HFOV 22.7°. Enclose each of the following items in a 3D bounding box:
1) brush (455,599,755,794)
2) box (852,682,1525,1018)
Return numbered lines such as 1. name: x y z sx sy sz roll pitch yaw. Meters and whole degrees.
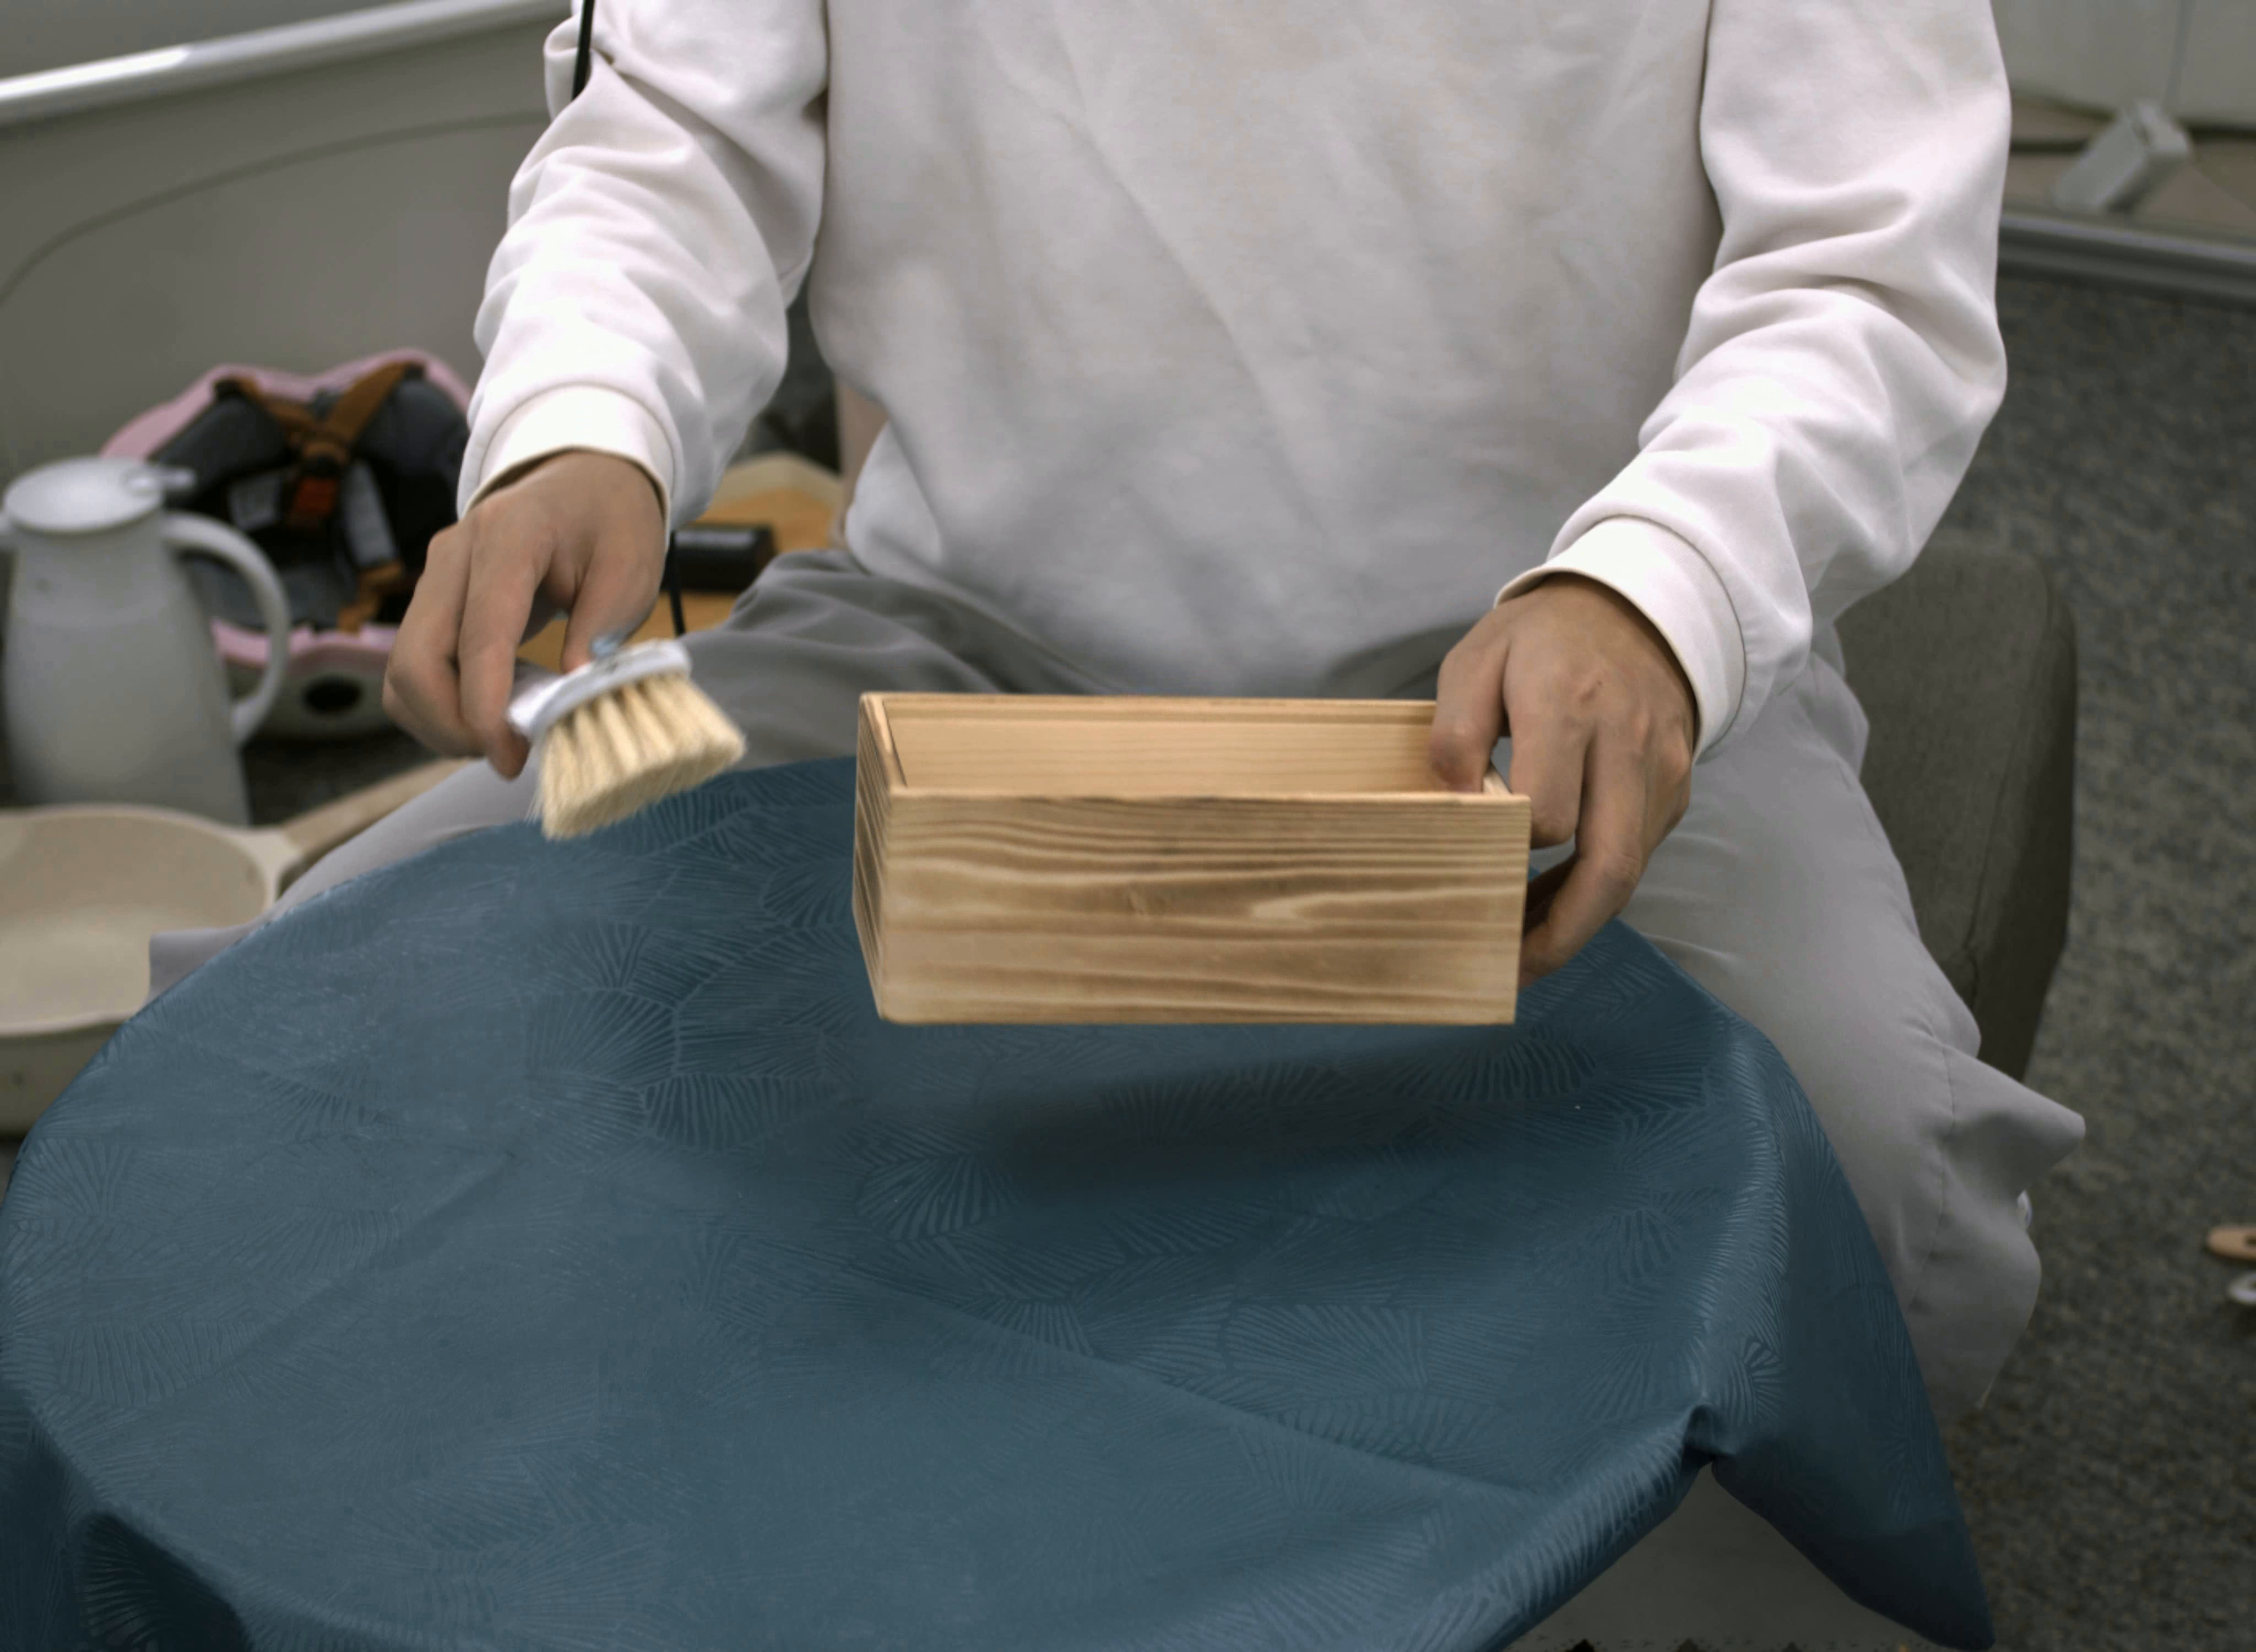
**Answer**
1. brush: -0.186 -0.035 1.904 0.068 0.056 0.264 -9 -1 -18
2. box: 0.017 0.008 1.871 0.211 0.080 0.108 1 17 -8
